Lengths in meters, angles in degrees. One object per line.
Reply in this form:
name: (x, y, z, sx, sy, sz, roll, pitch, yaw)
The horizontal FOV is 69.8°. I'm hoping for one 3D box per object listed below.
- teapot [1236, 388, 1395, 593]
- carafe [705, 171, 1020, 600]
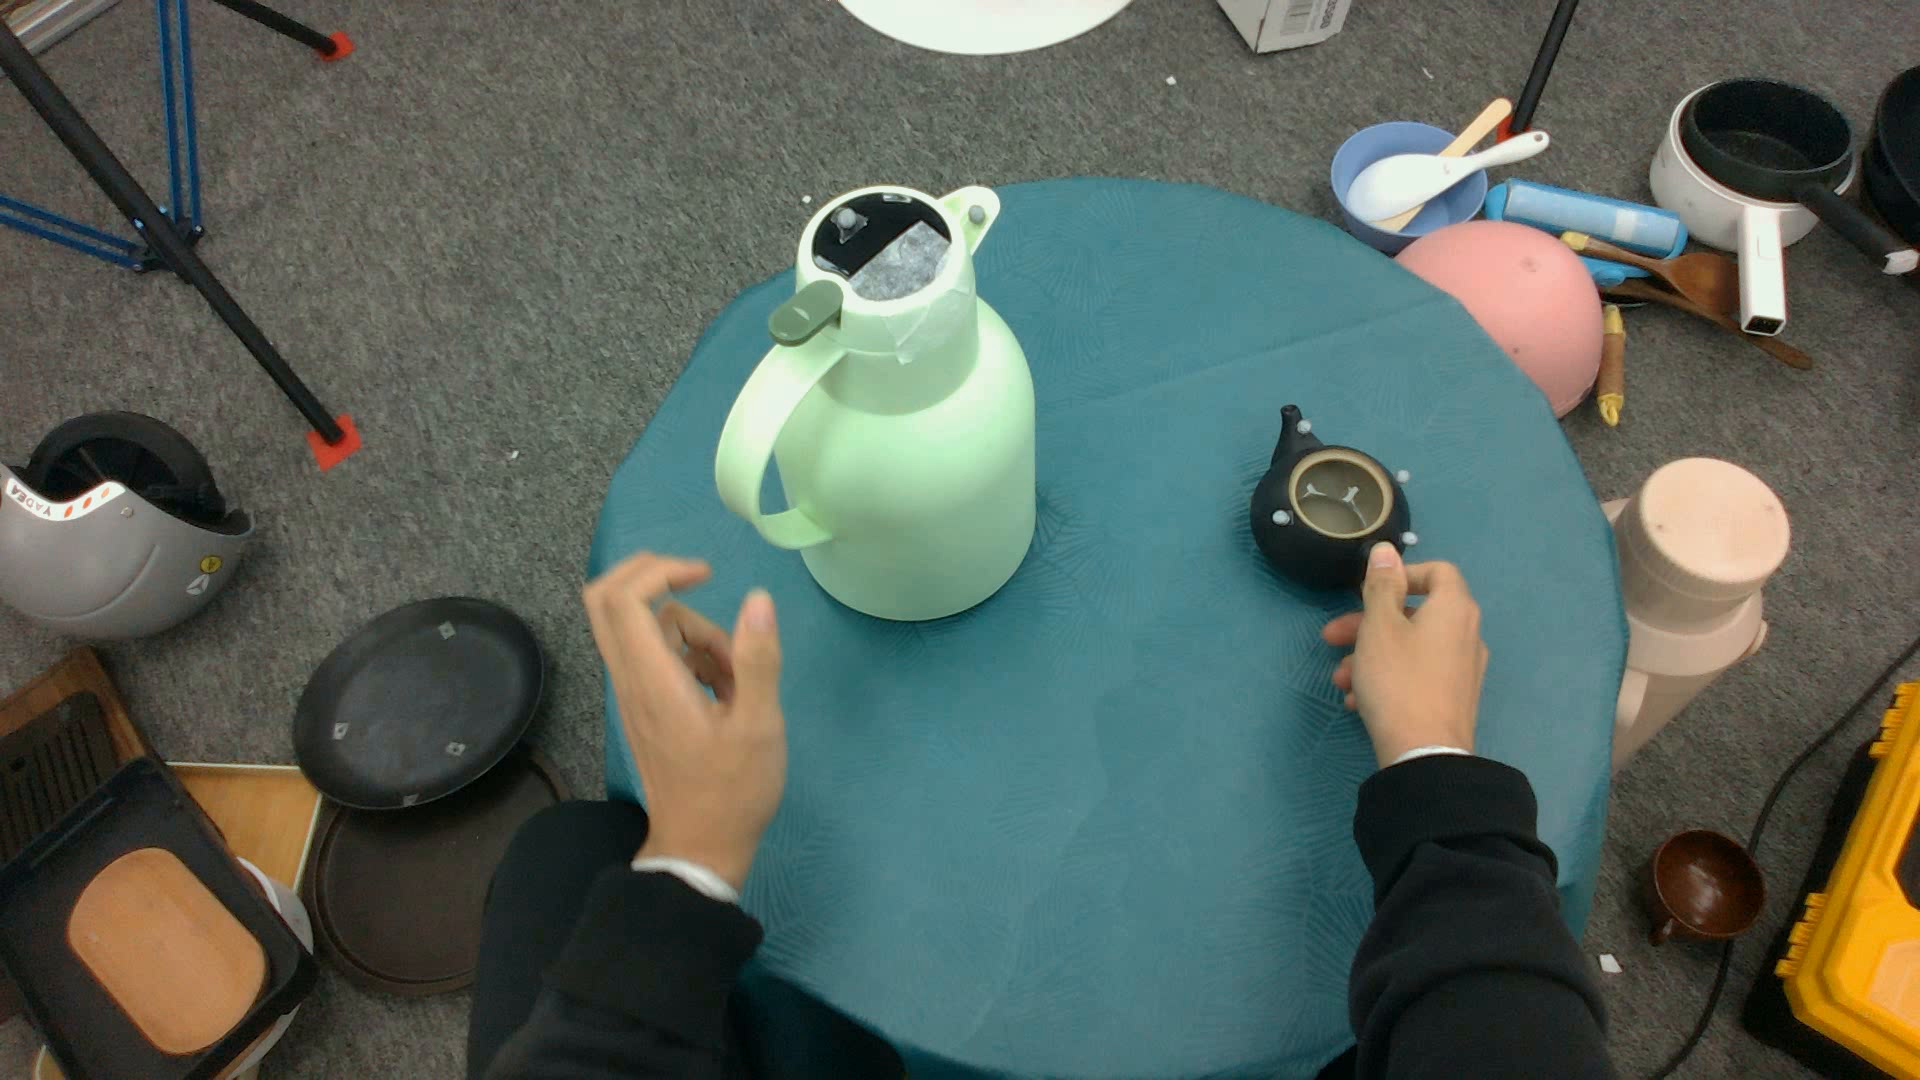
teapot: (0.207, -0.025, 0.800, 0.091, 0.053, 0.133, -21, 63, -8)
carafe: (-0.049, -0.069, 0.720, 0.144, 0.256, 0.187, 37, 72, 18)
